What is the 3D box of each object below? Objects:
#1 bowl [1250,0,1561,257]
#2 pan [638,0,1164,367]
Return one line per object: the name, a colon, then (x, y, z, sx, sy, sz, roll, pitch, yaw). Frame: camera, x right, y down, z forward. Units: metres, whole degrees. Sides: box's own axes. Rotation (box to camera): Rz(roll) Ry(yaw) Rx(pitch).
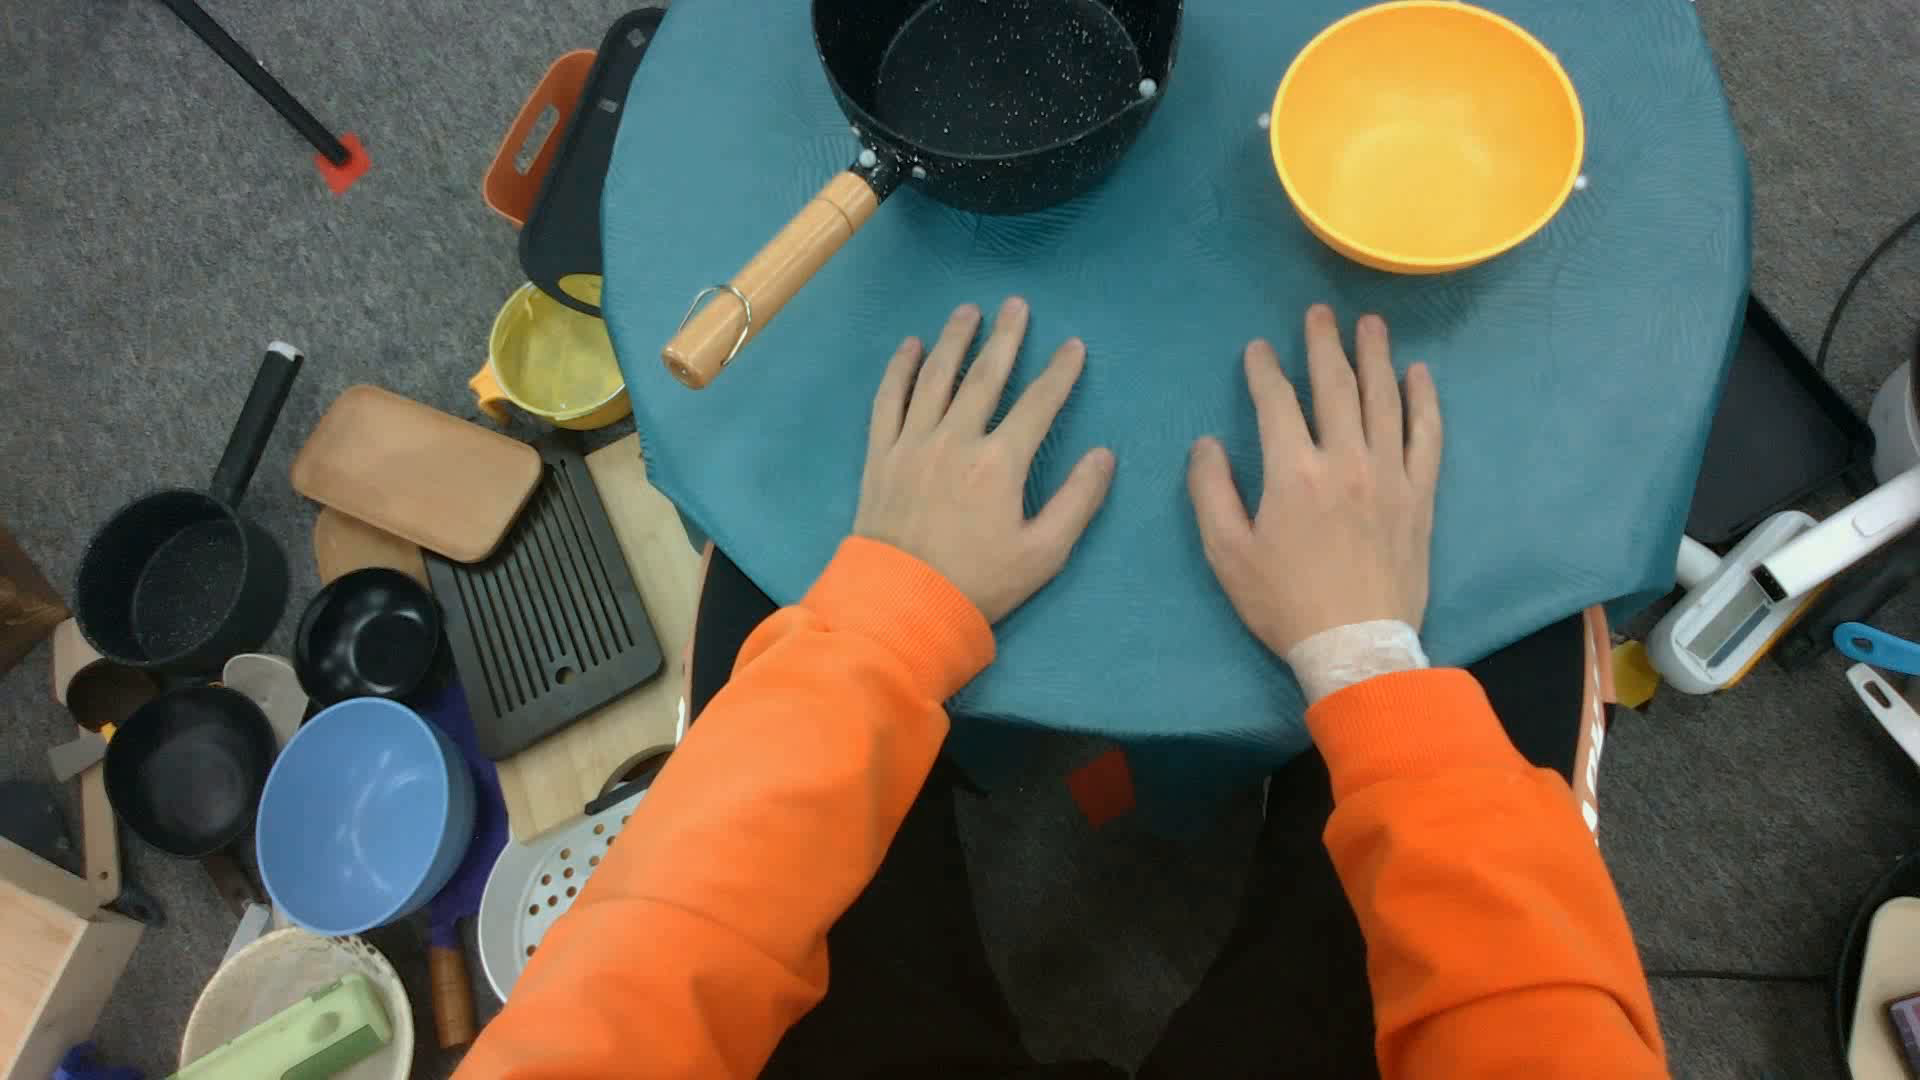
bowl: (0.217, -0.197, 0.690, 0.145, 0.060, 0.145, -2, 73, 7)
pan: (-0.034, -0.205, 0.691, 0.207, 0.108, 0.343, 32, 78, 12)
